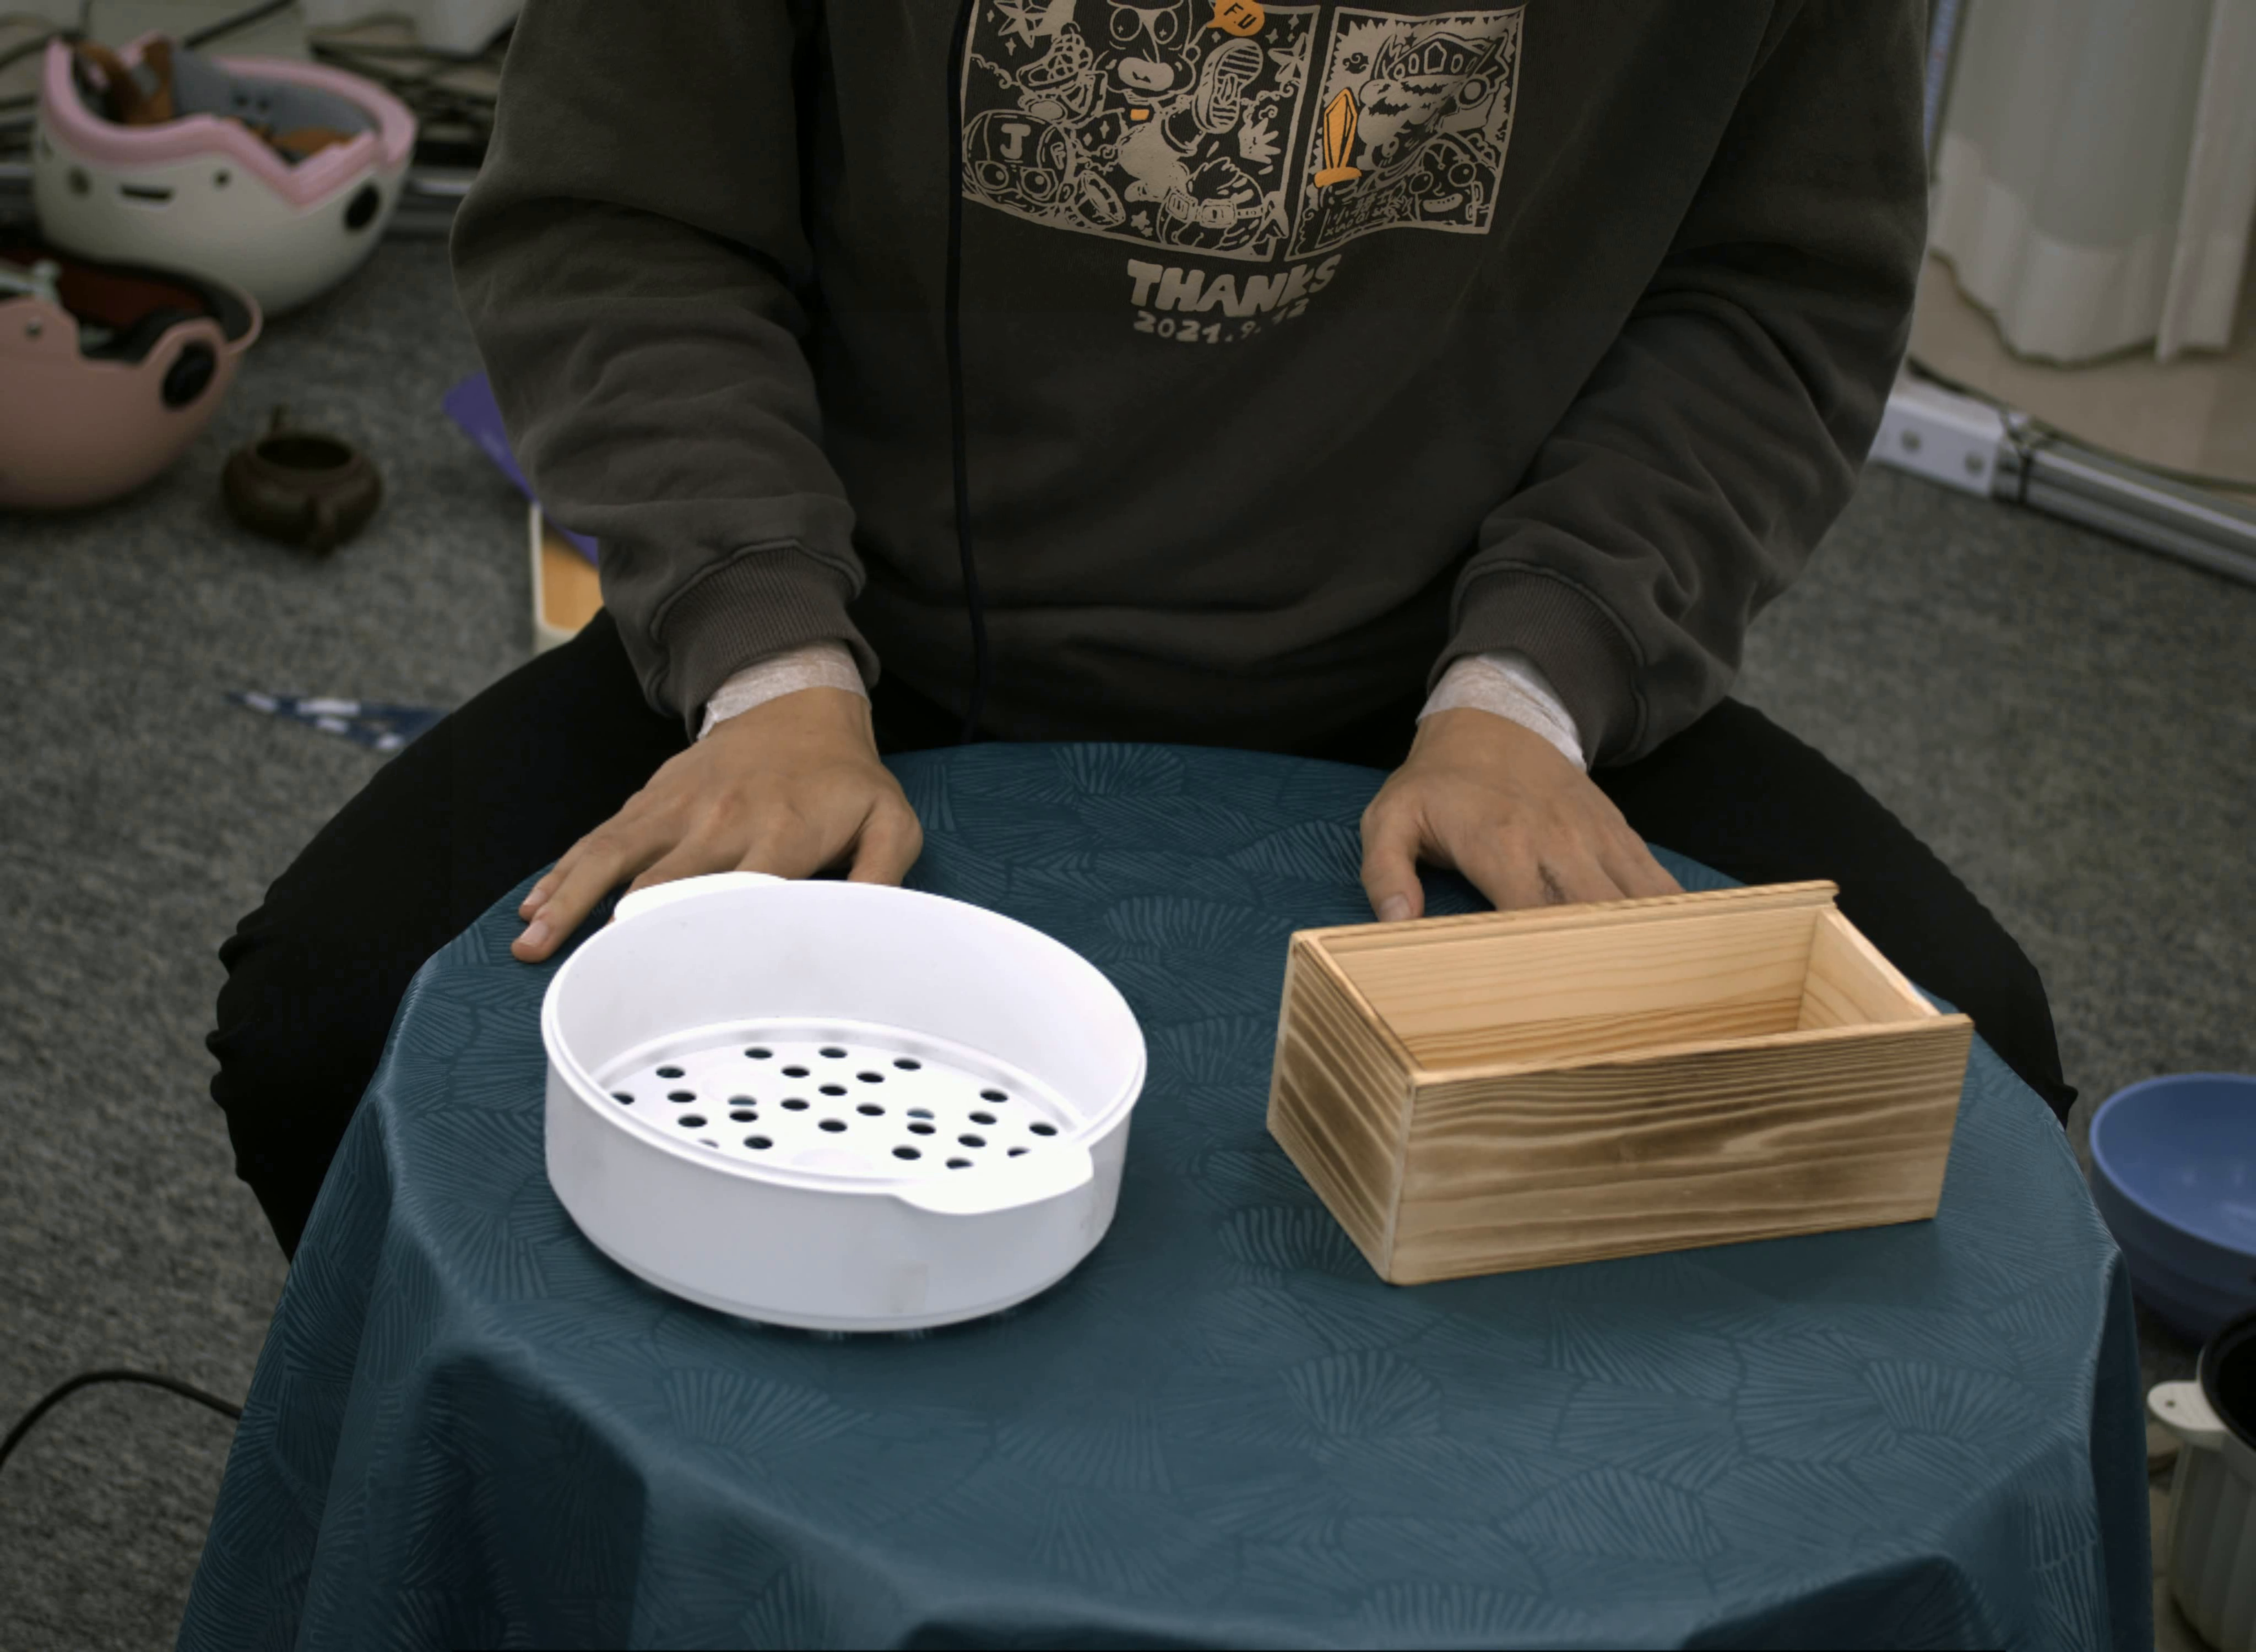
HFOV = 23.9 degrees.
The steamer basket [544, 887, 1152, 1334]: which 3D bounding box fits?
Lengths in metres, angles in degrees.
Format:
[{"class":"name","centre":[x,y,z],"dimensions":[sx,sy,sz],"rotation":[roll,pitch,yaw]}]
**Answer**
[{"class":"steamer basket","centre":[-0.095,0.095,1.764],"dimensions":[0.200,0.069,0.232],"rotation":[-10,29,-31]}]

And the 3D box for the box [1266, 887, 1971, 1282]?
[{"class":"box","centre":[0.167,0.087,1.826],"dimensions":[0.210,0.080,0.108],"rotation":[-5,28,-22]}]
